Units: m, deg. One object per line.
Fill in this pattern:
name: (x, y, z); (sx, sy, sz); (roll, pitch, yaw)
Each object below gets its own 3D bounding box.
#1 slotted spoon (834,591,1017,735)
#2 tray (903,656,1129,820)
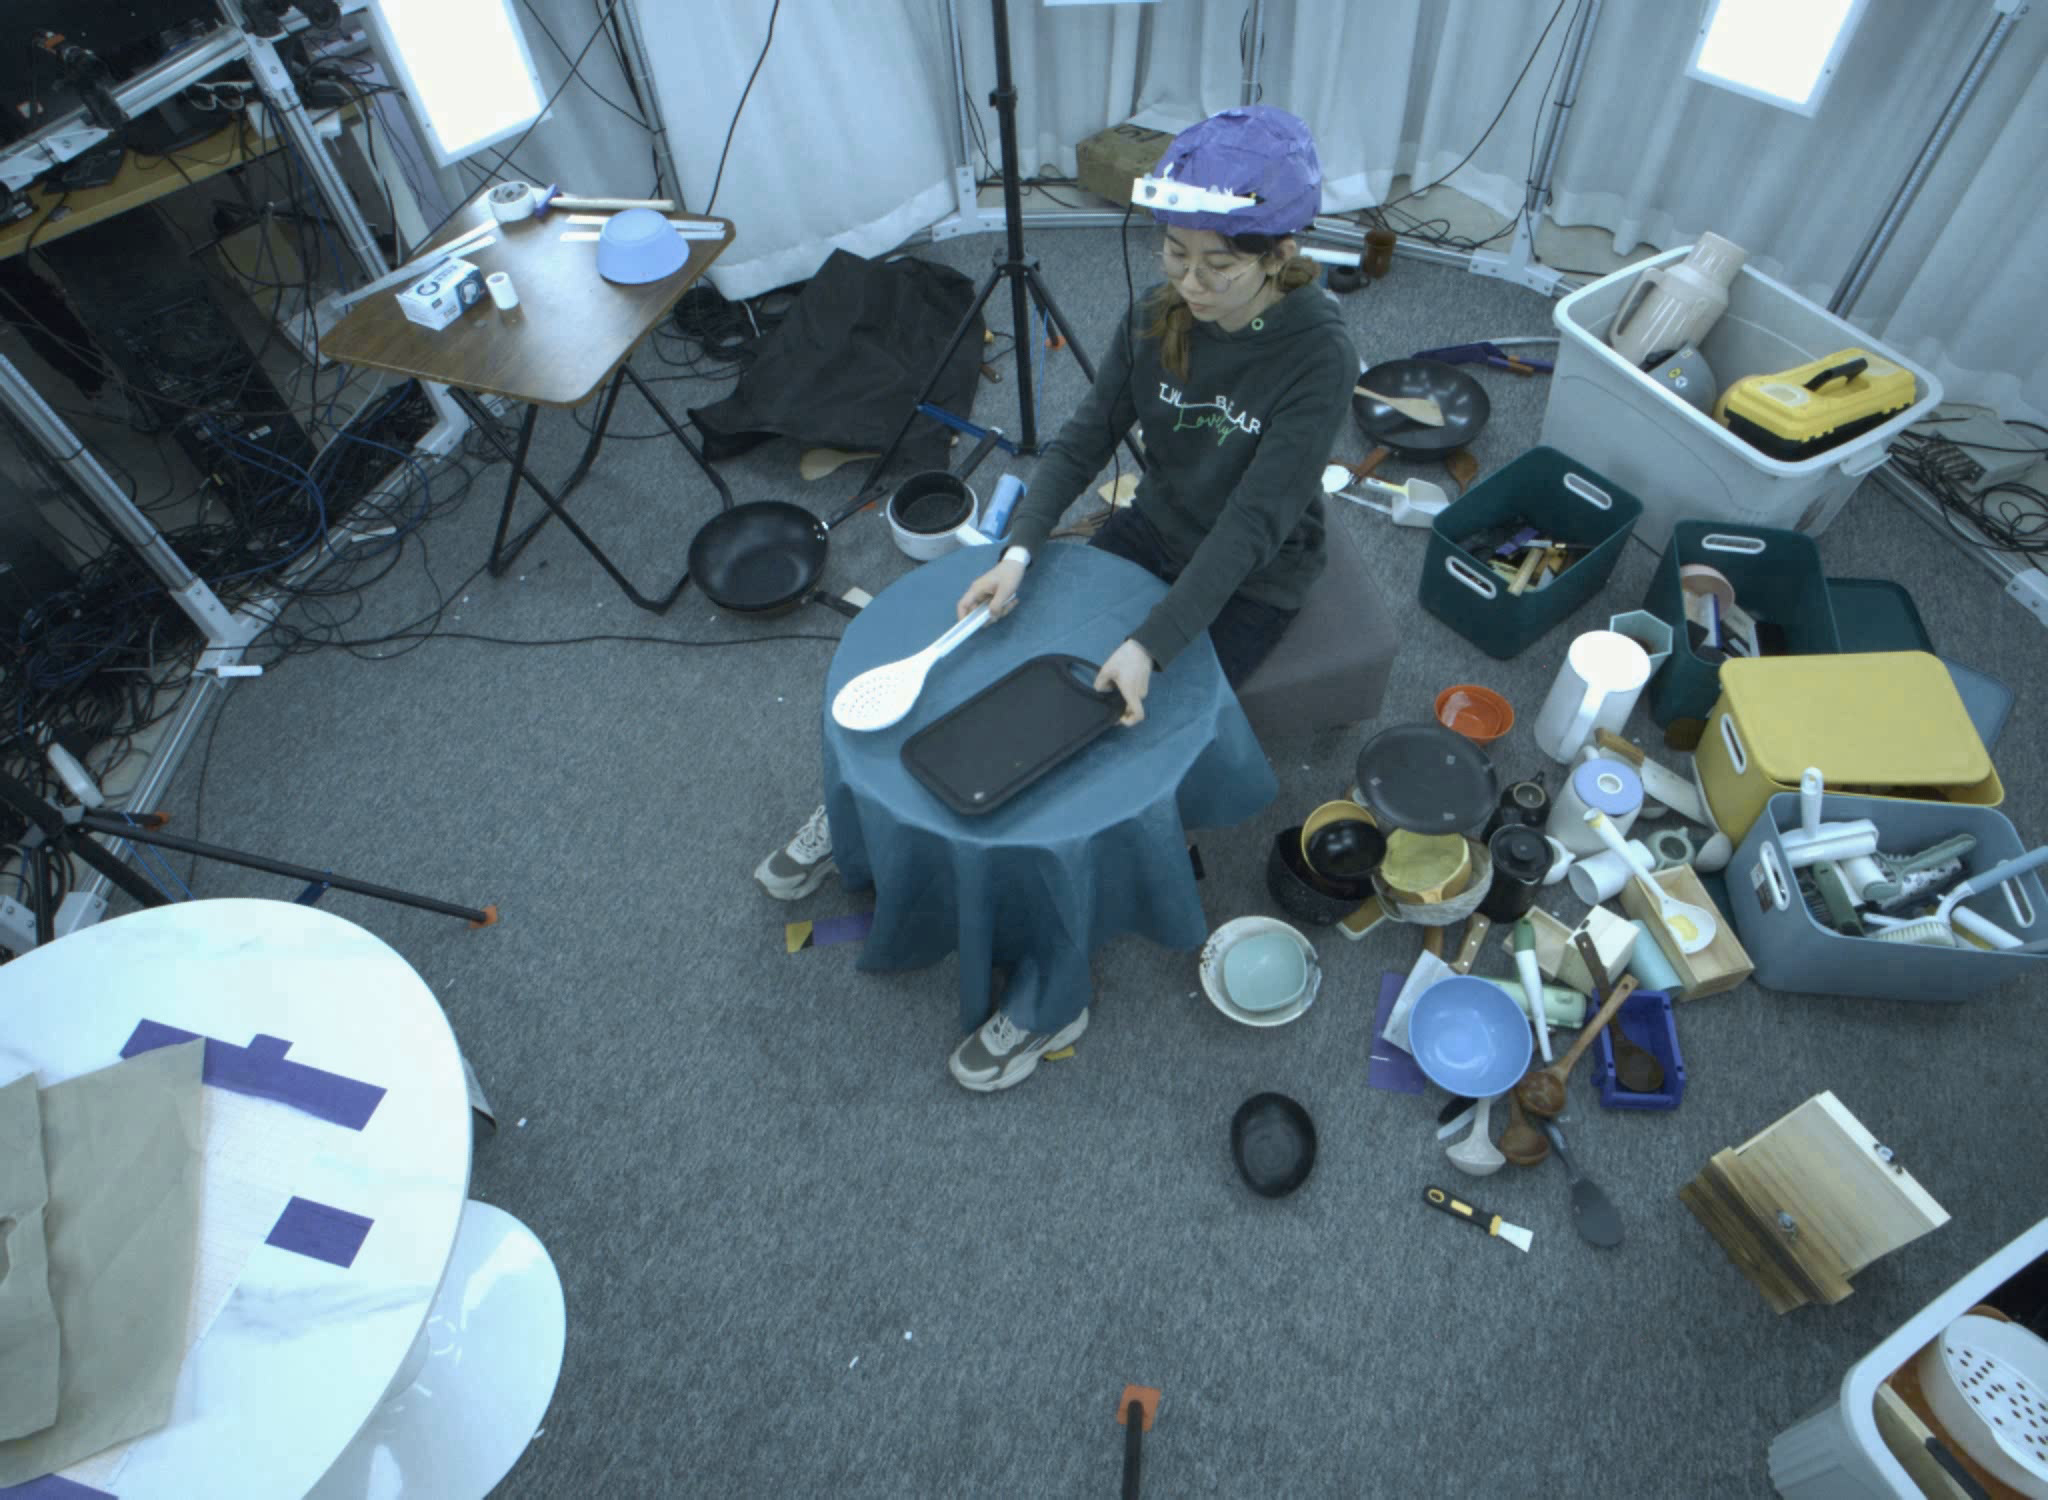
slotted spoon: (-0.140, -0.135, 1.851); (0.133, 0.046, 0.351); (28, 64, 39)
tray: (-0.007, -0.030, 1.790); (0.328, 0.010, 0.206); (-34, 50, -20)
